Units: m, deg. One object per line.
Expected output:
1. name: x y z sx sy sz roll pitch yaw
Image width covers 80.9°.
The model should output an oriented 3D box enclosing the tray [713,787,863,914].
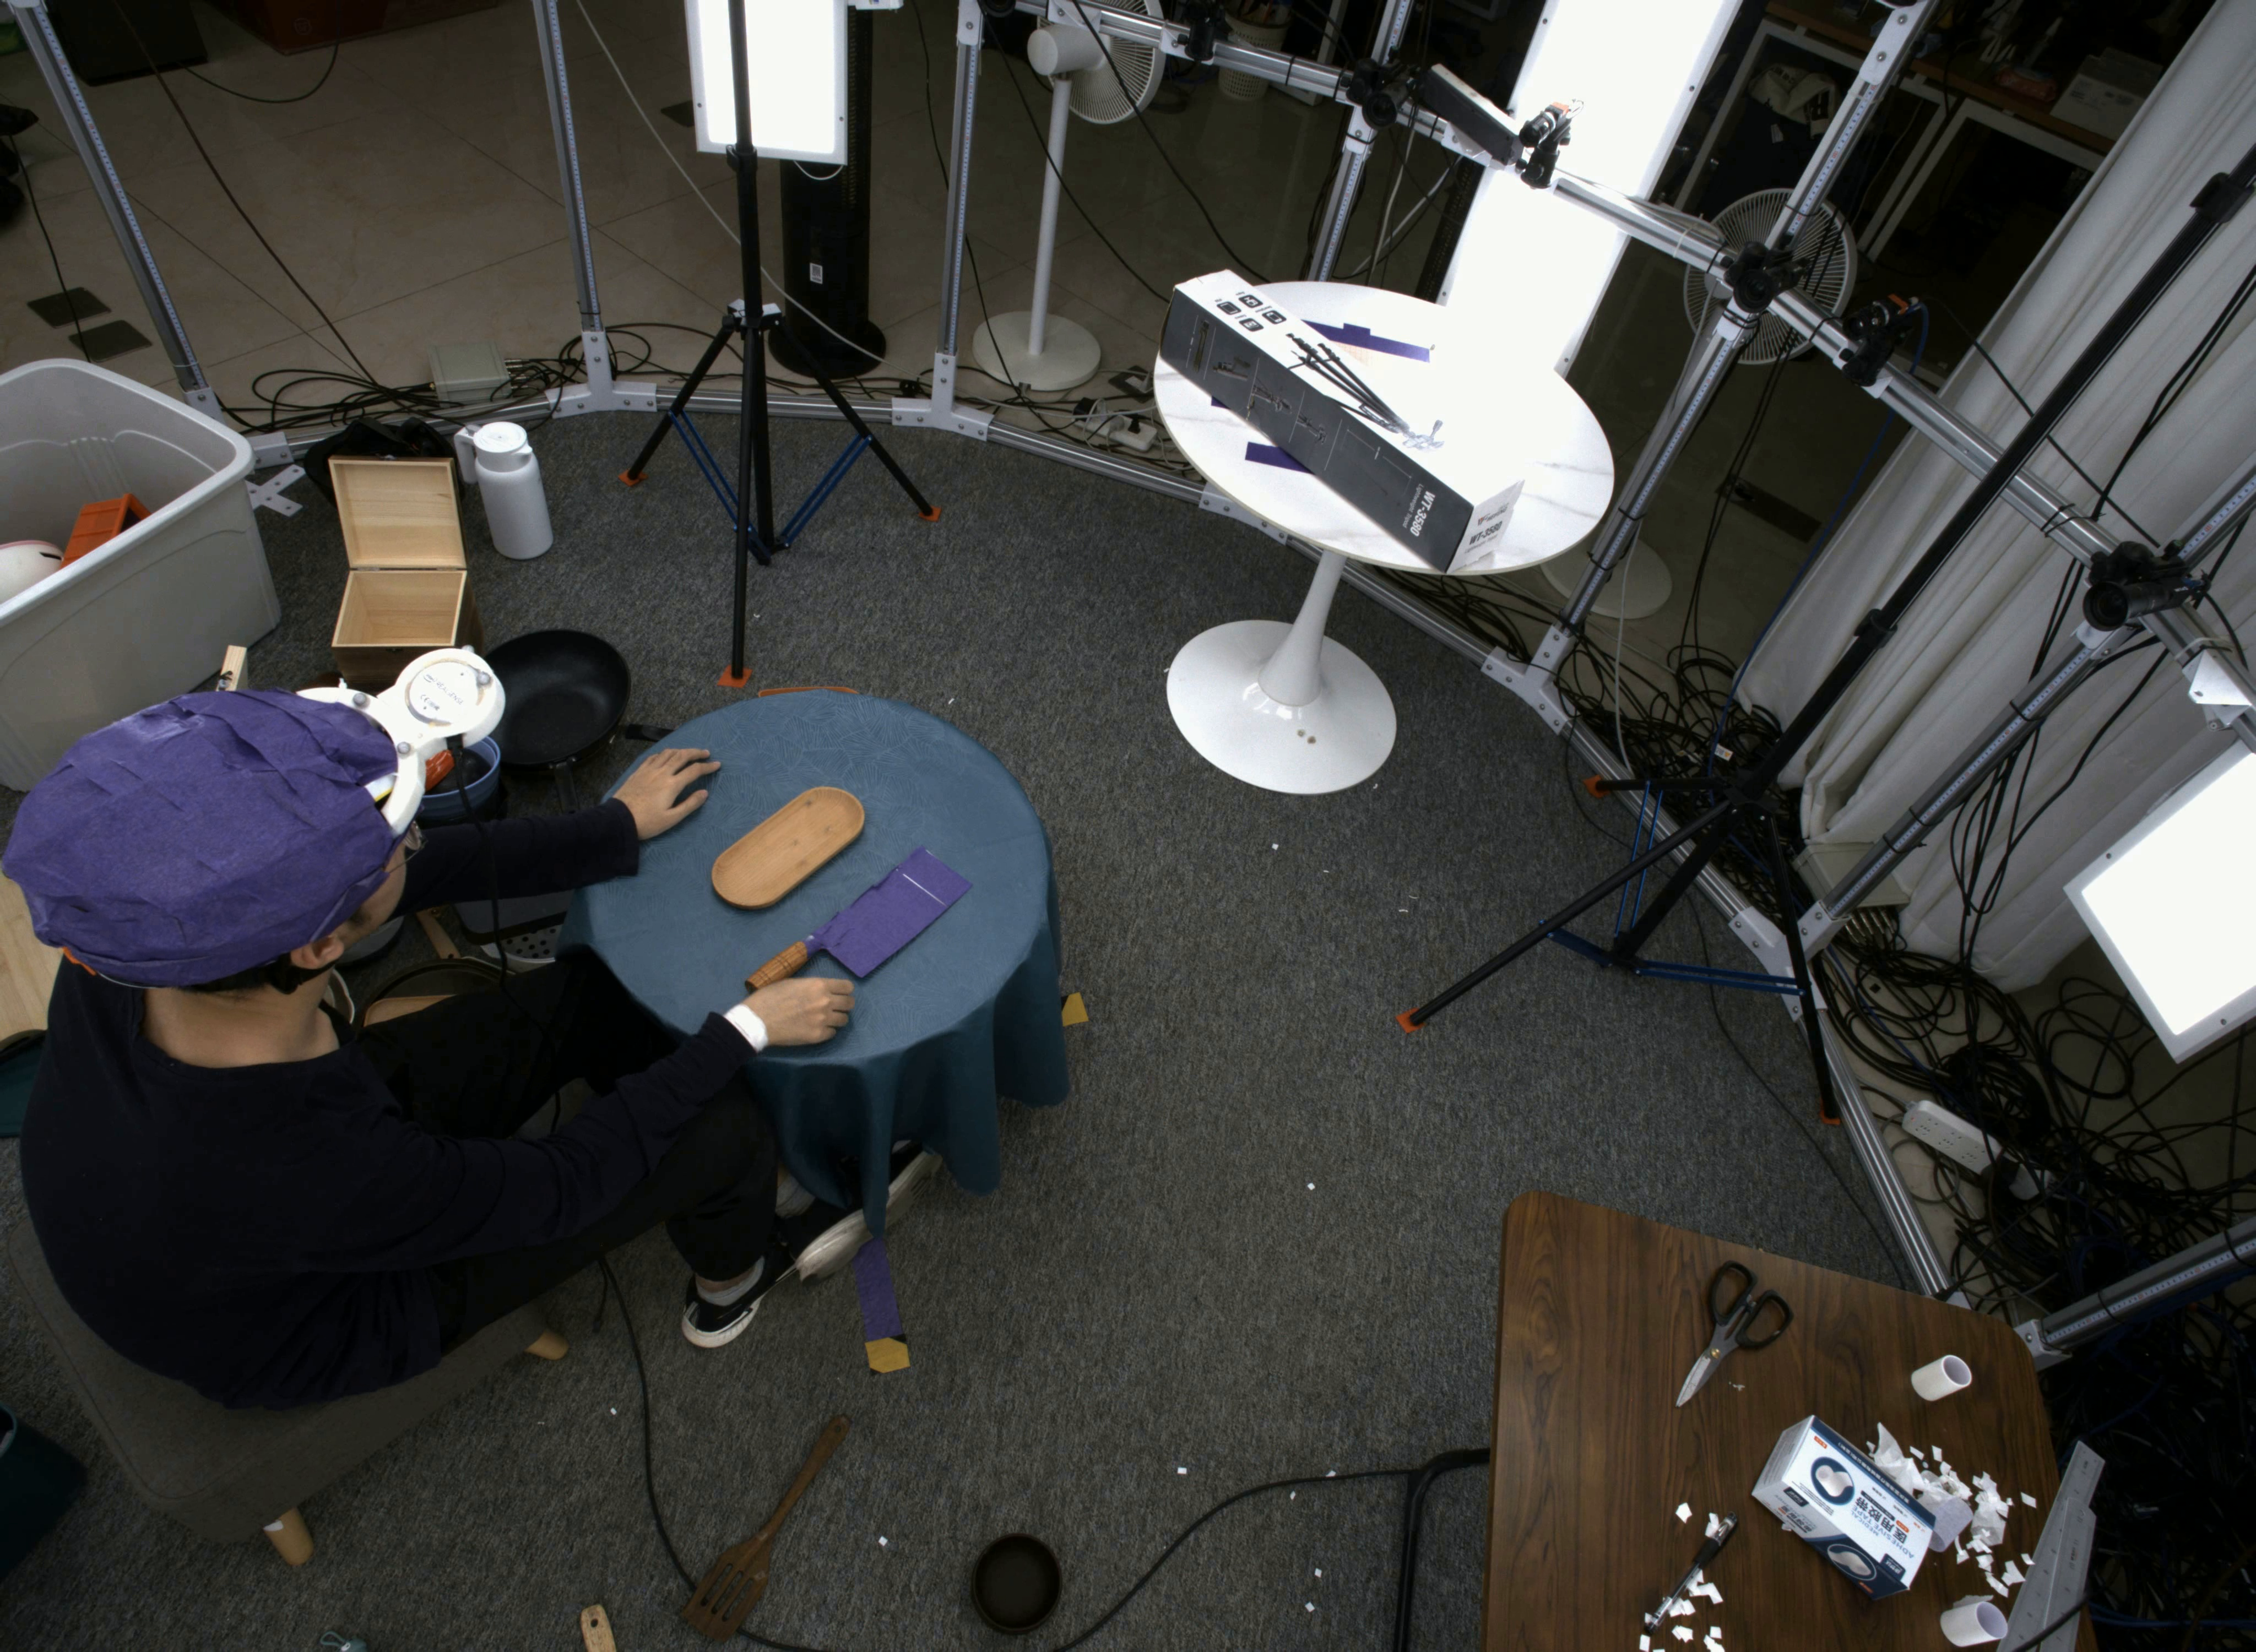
1. tray: -0.443 0.029 1.698 0.099 0.021 0.231 35 55 13

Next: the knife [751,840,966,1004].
1. knife: -0.332 0.130 1.645 0.102 0.033 0.315 36 53 14
